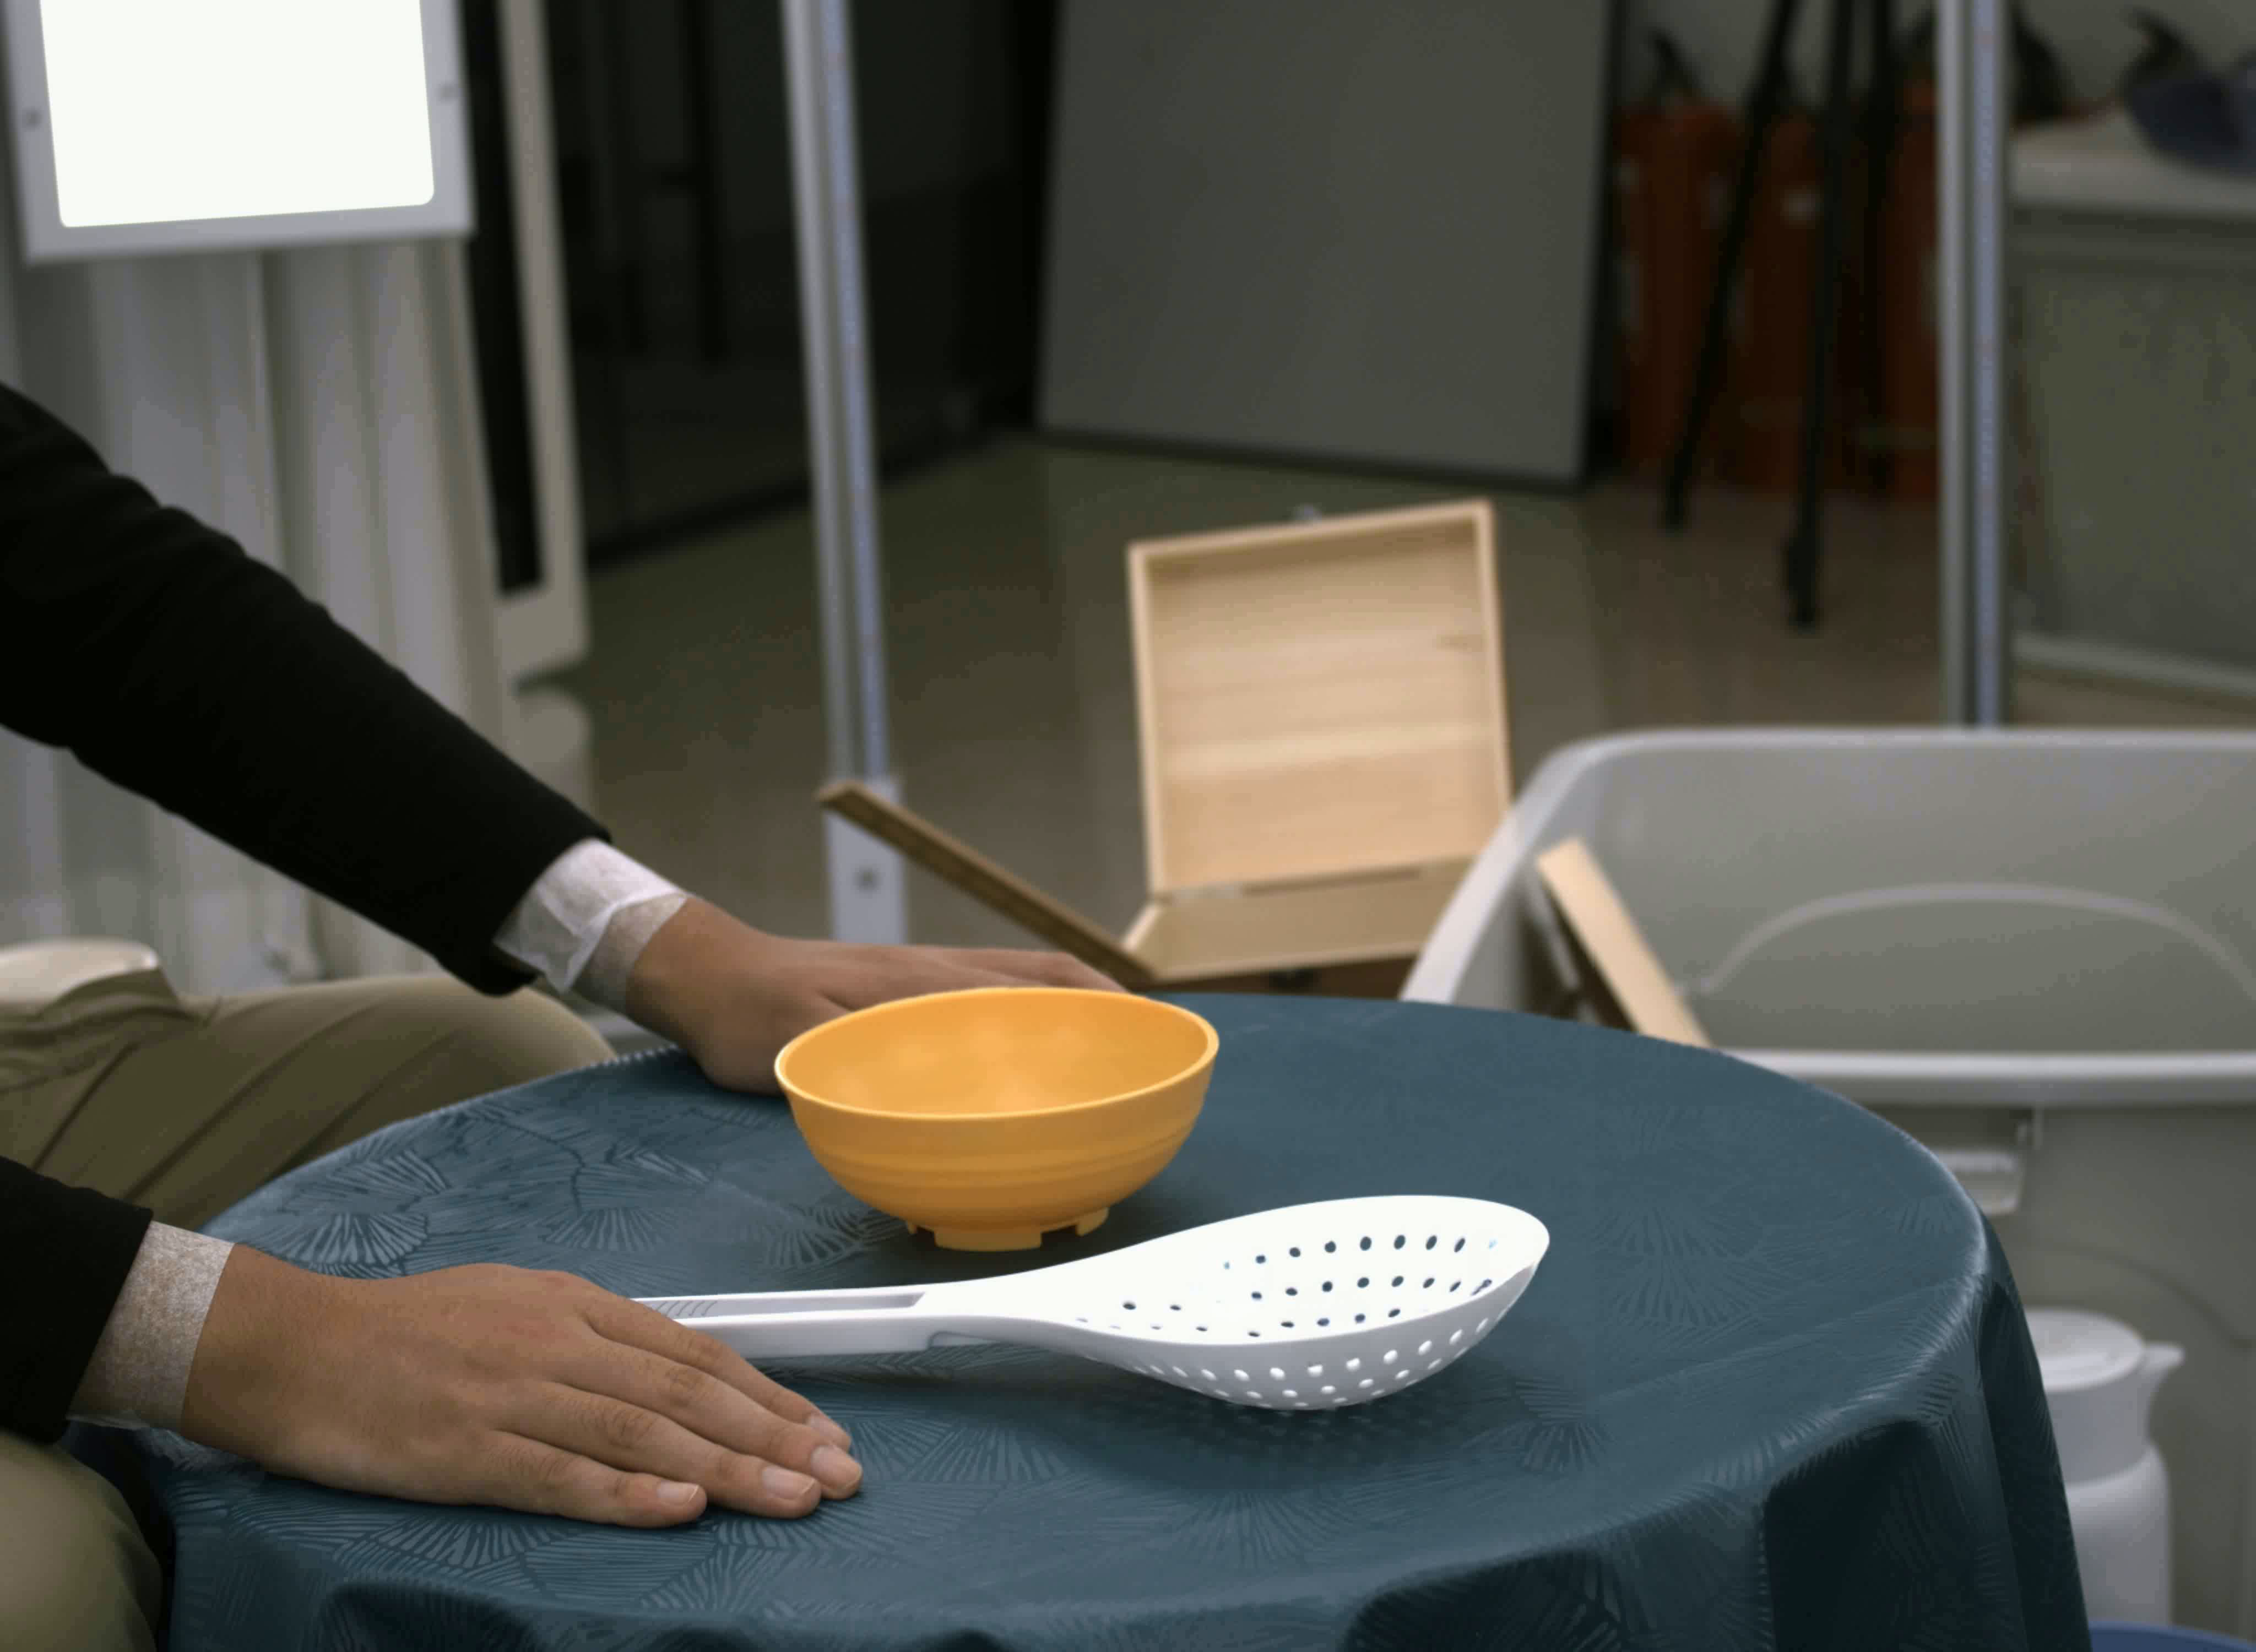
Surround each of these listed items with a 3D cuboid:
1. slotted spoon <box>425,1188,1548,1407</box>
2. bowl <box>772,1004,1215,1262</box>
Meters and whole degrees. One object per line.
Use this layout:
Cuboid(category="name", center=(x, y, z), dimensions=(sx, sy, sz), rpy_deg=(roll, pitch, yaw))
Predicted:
Cuboid(category="slotted spoon", center=(-0.045, 0.144, 1.594), dimensions=(0.348, 0.046, 0.135), rpy_deg=(-1, 13, 17))
Cuboid(category="bowl", center=(-0.042, 0.103, 1.742), dimensions=(0.143, 0.061, 0.145), rpy_deg=(-3, 12, 0))
